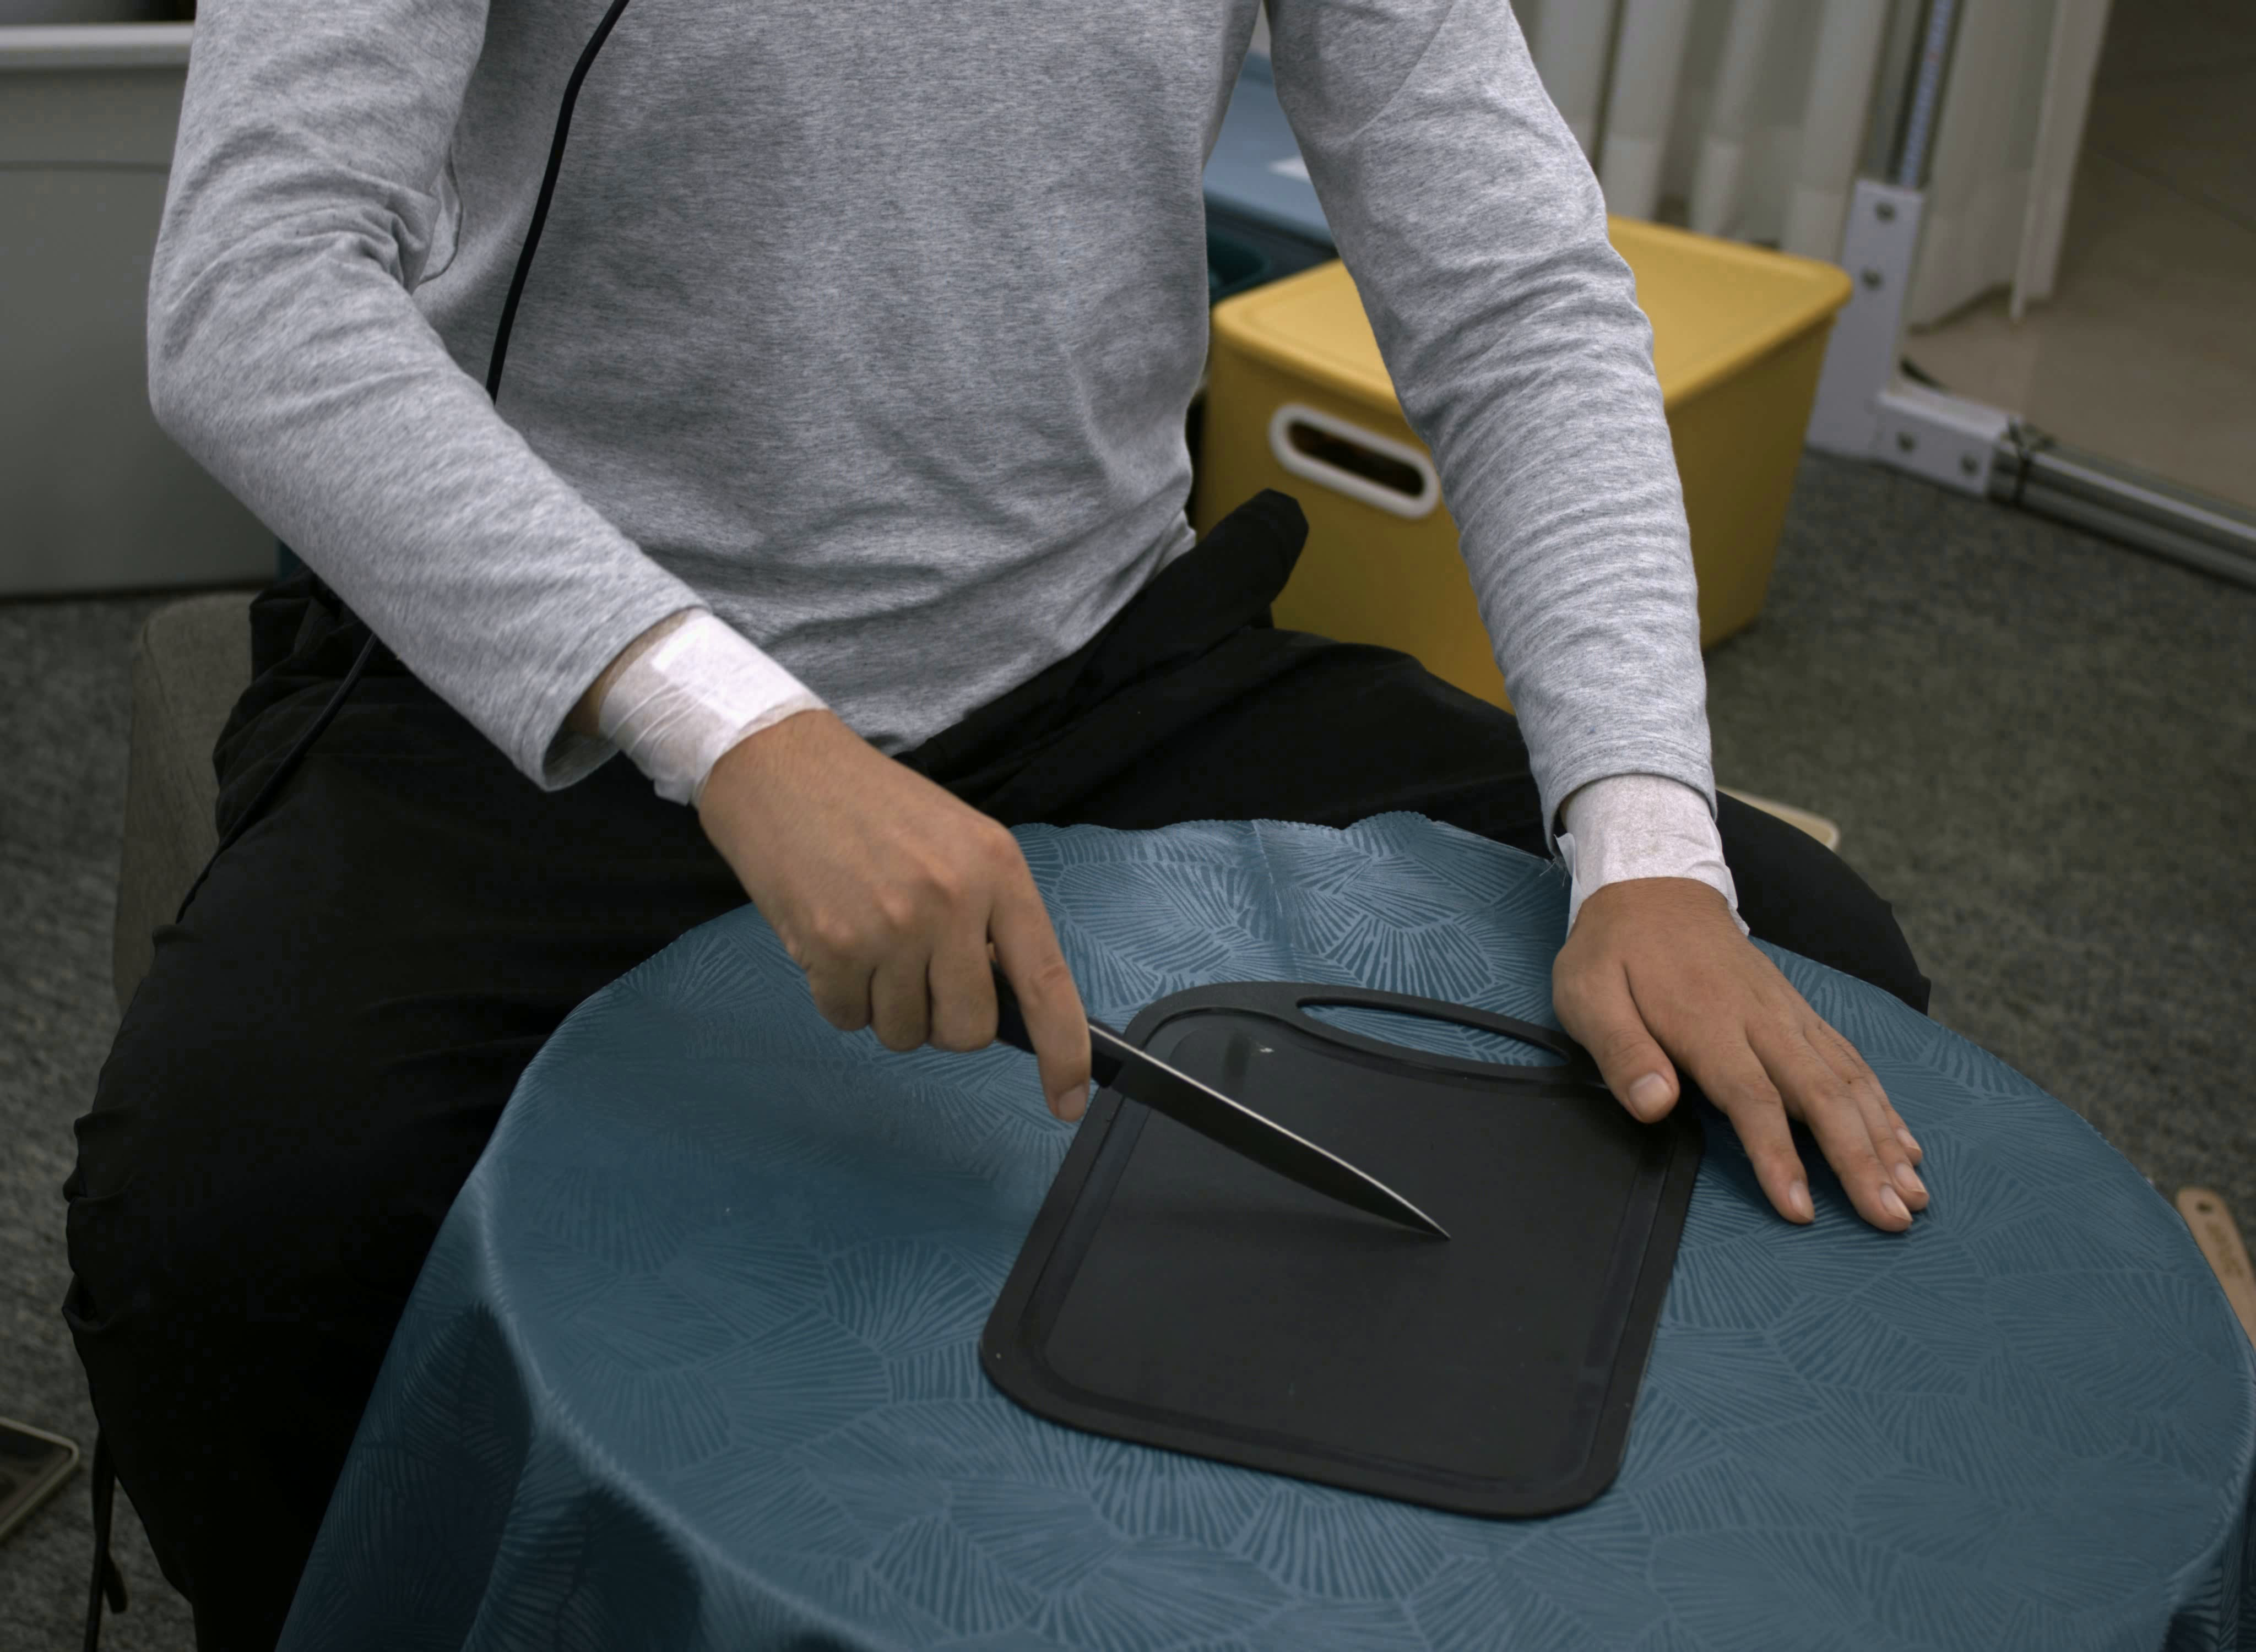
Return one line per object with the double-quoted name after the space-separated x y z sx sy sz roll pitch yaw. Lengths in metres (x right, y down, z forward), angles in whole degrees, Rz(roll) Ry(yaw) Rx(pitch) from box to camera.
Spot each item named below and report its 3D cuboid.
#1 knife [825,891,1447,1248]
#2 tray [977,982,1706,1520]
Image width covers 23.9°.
0.005 0.083 1.792 0.237 0.024 0.016 29 41 -1 "knife"
0.079 0.132 1.801 0.211 0.010 0.326 11 27 9 "tray"
